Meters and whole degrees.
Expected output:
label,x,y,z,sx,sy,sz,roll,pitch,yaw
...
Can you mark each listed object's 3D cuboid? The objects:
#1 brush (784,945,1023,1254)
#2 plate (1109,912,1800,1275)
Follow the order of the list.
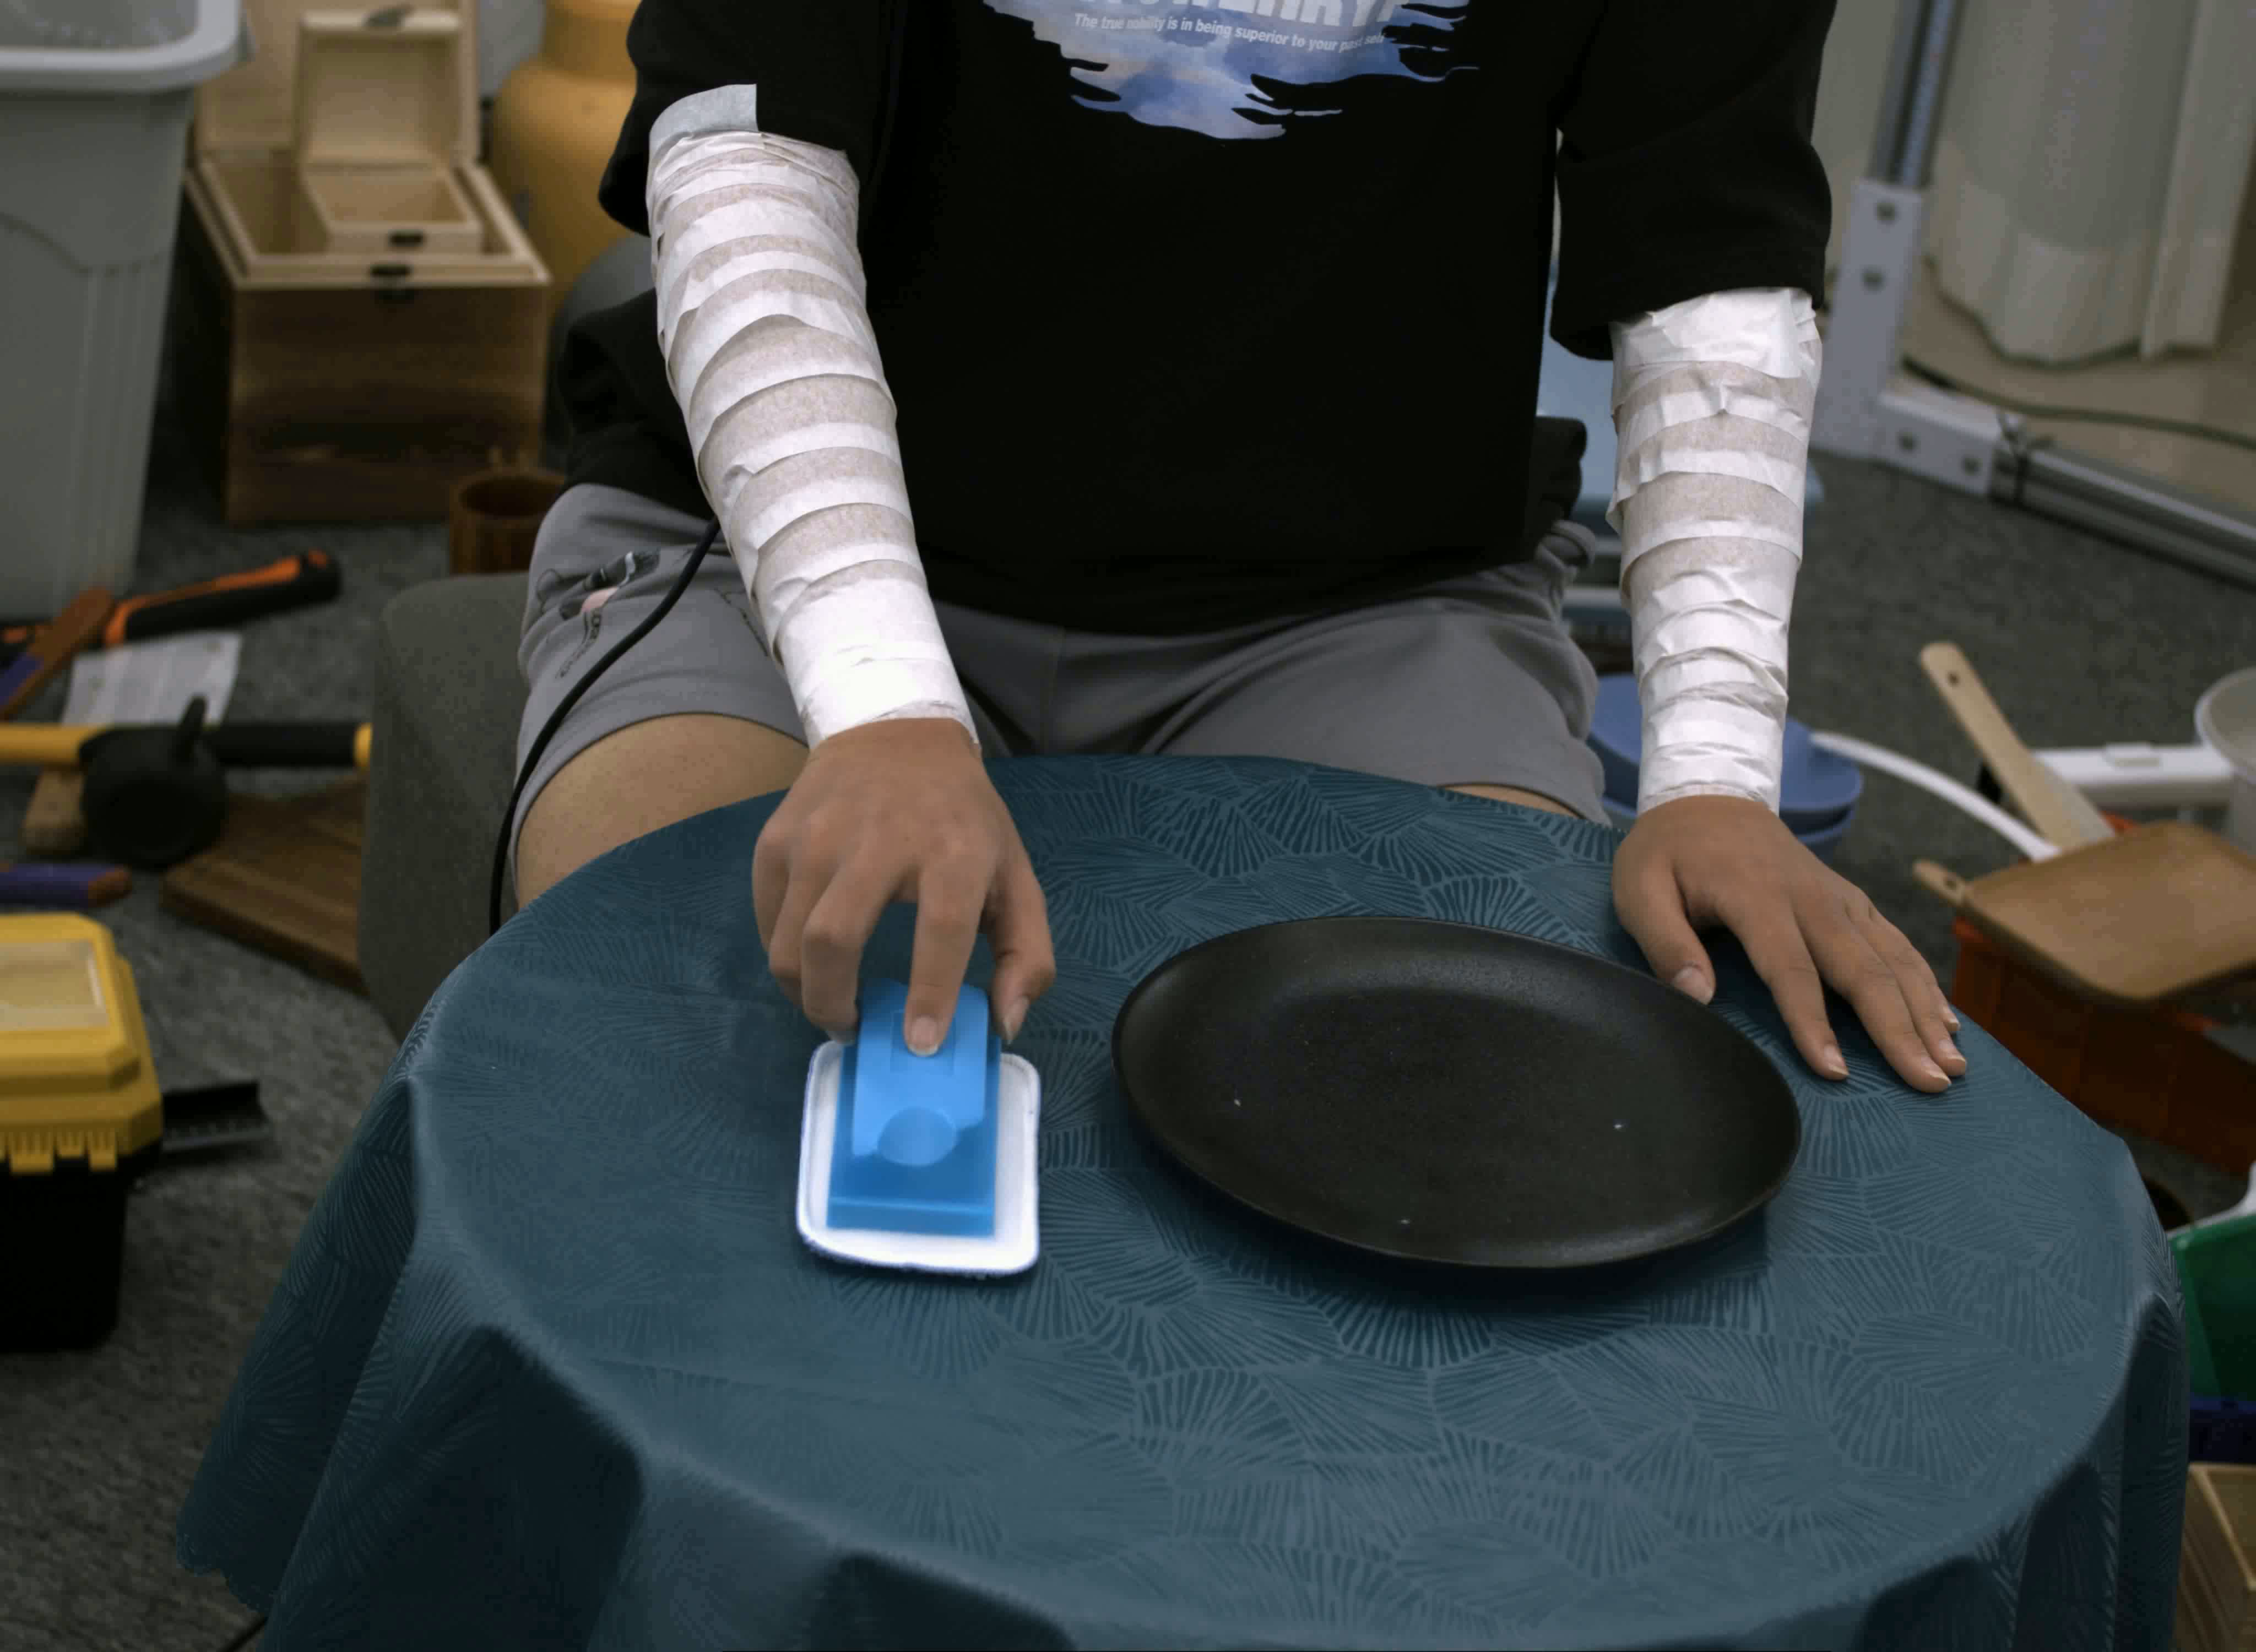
label,x,y,z,sx,sy,sz,roll,pitch,yaw
brush,-0.073,0.087,1.791,0.083,0.056,0.145,8,29,-6
plate,0.112,0.097,1.856,0.243,0.023,0.246,5,27,-3
